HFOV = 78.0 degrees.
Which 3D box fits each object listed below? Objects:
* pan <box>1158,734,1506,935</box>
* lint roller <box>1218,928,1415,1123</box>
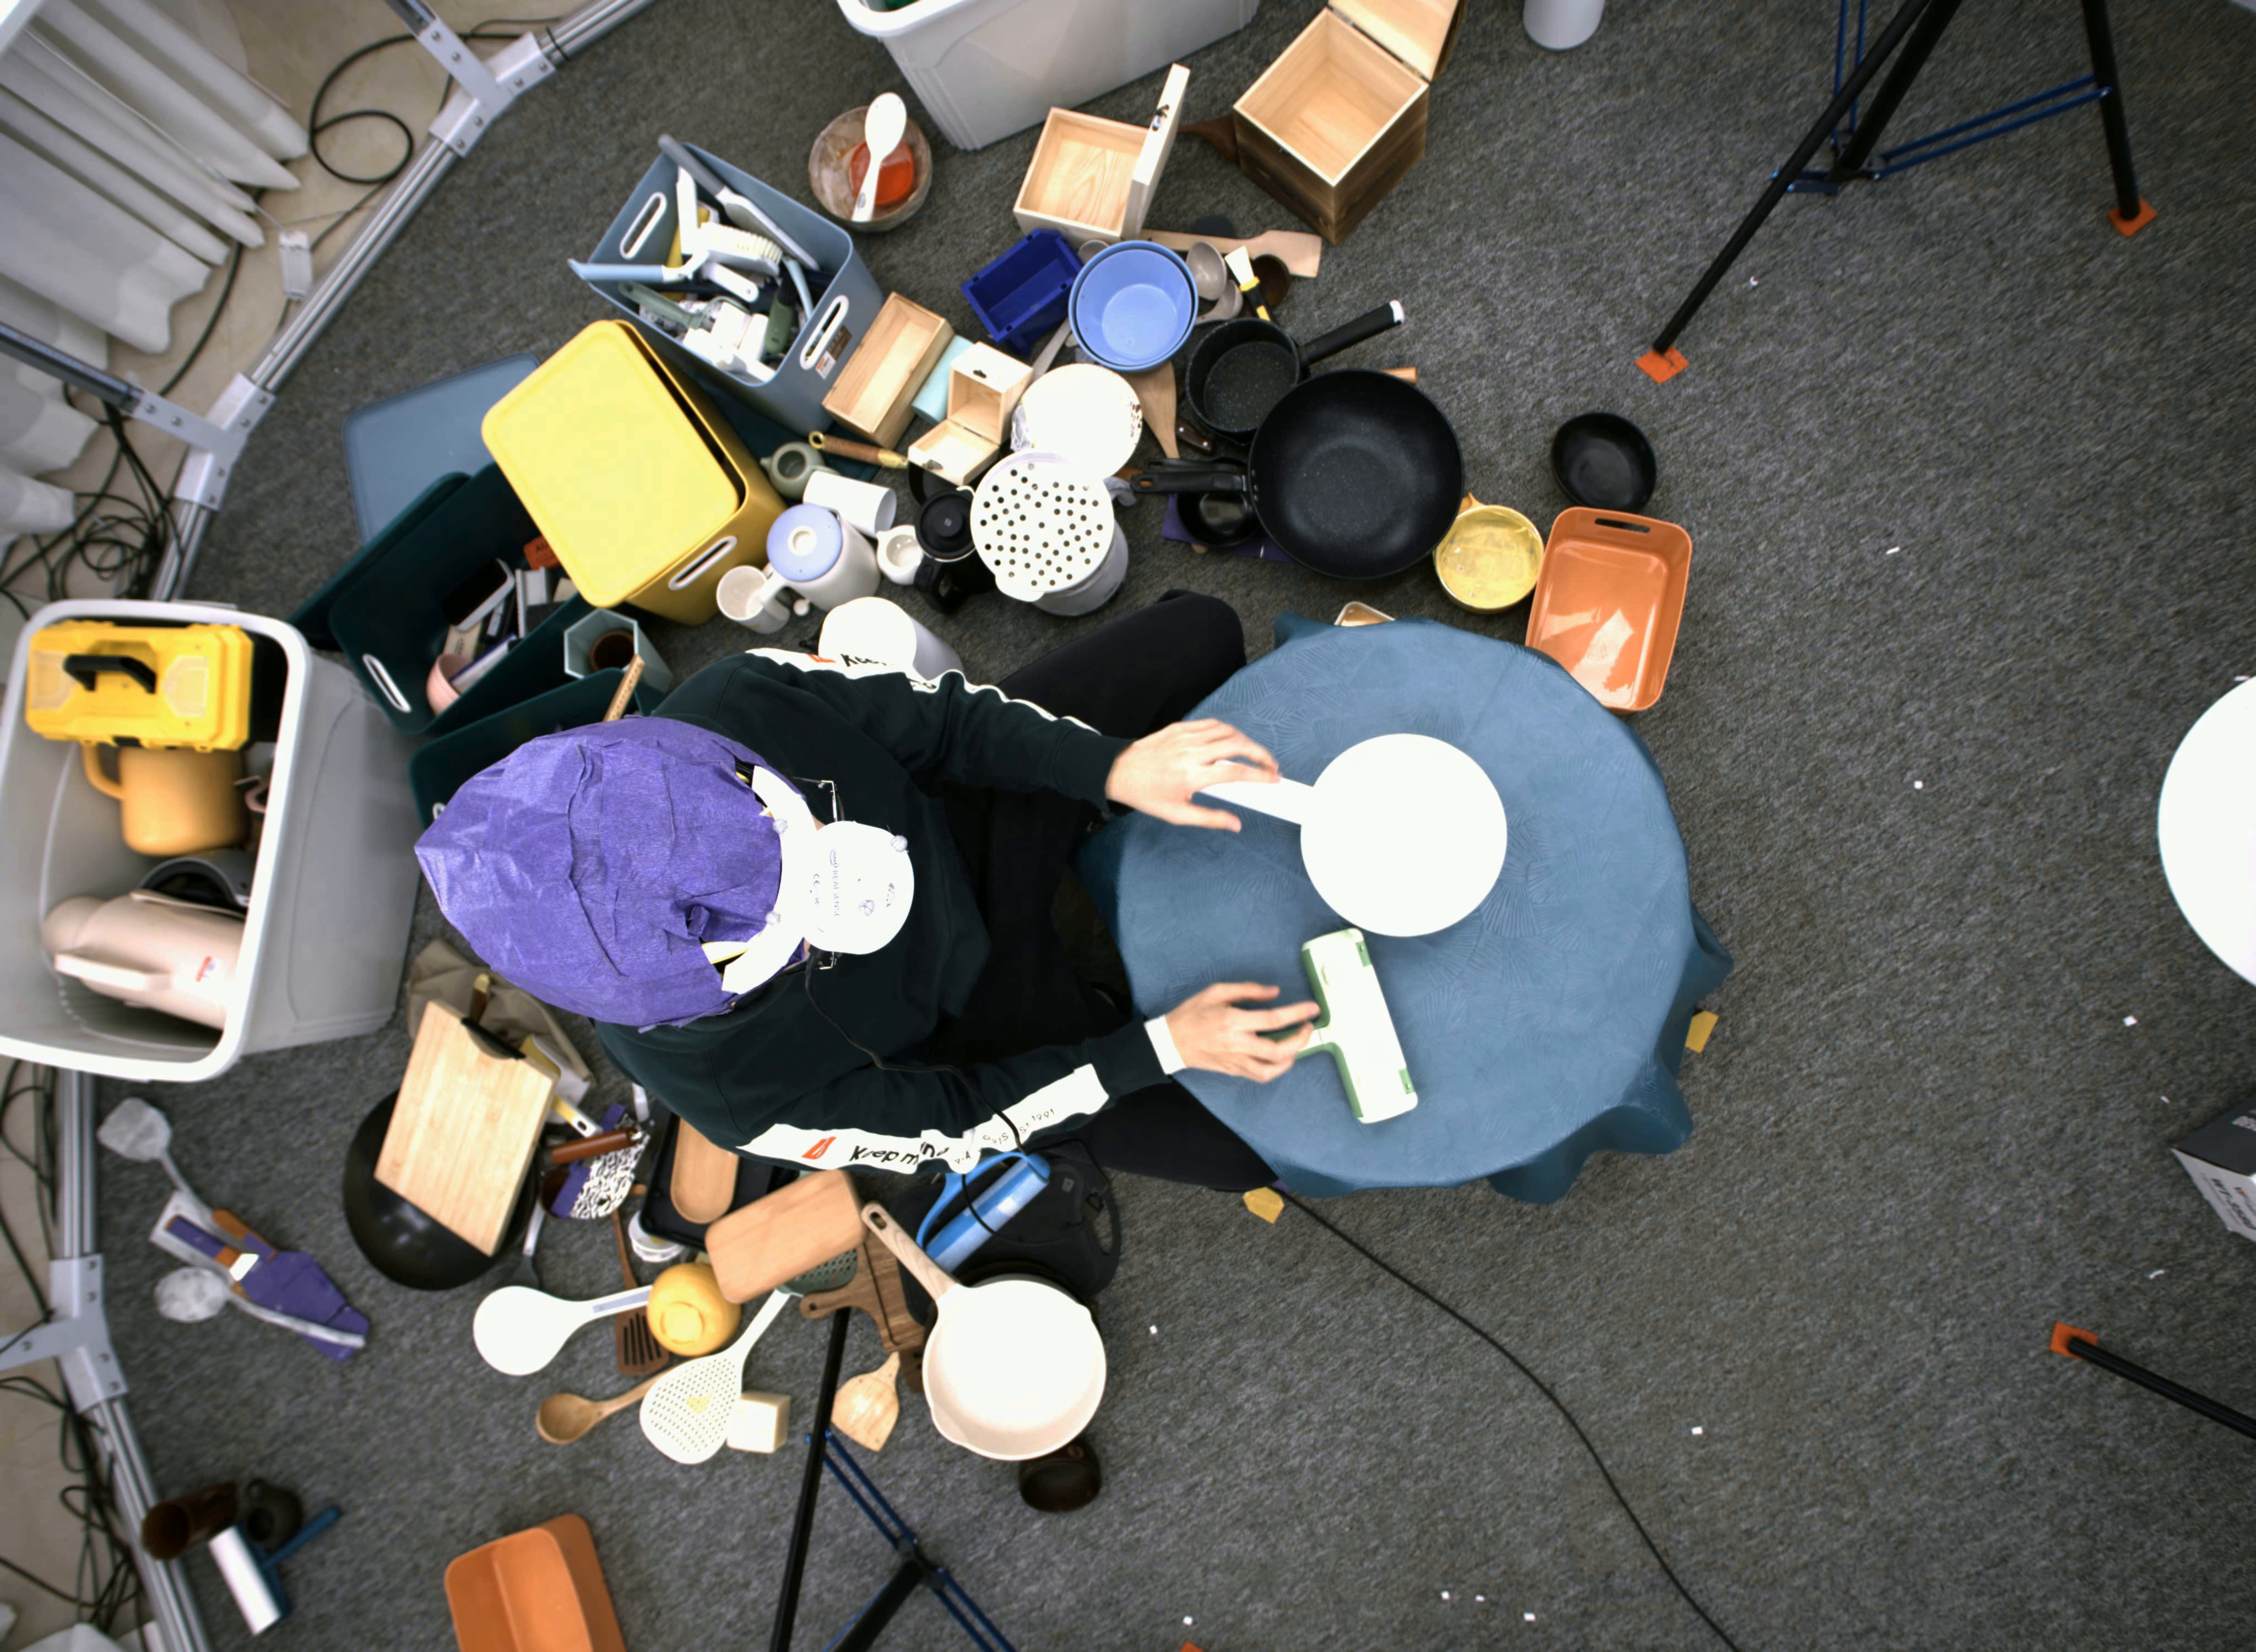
[{"bbox_3d":[0.207,-0.013,1.422,0.355,0.102,0.201,19,91,11],"label":"pan"},{"bbox_3d":[0.180,0.221,1.426,0.184,0.082,0.197,-18,84,4],"label":"lint roller"}]
